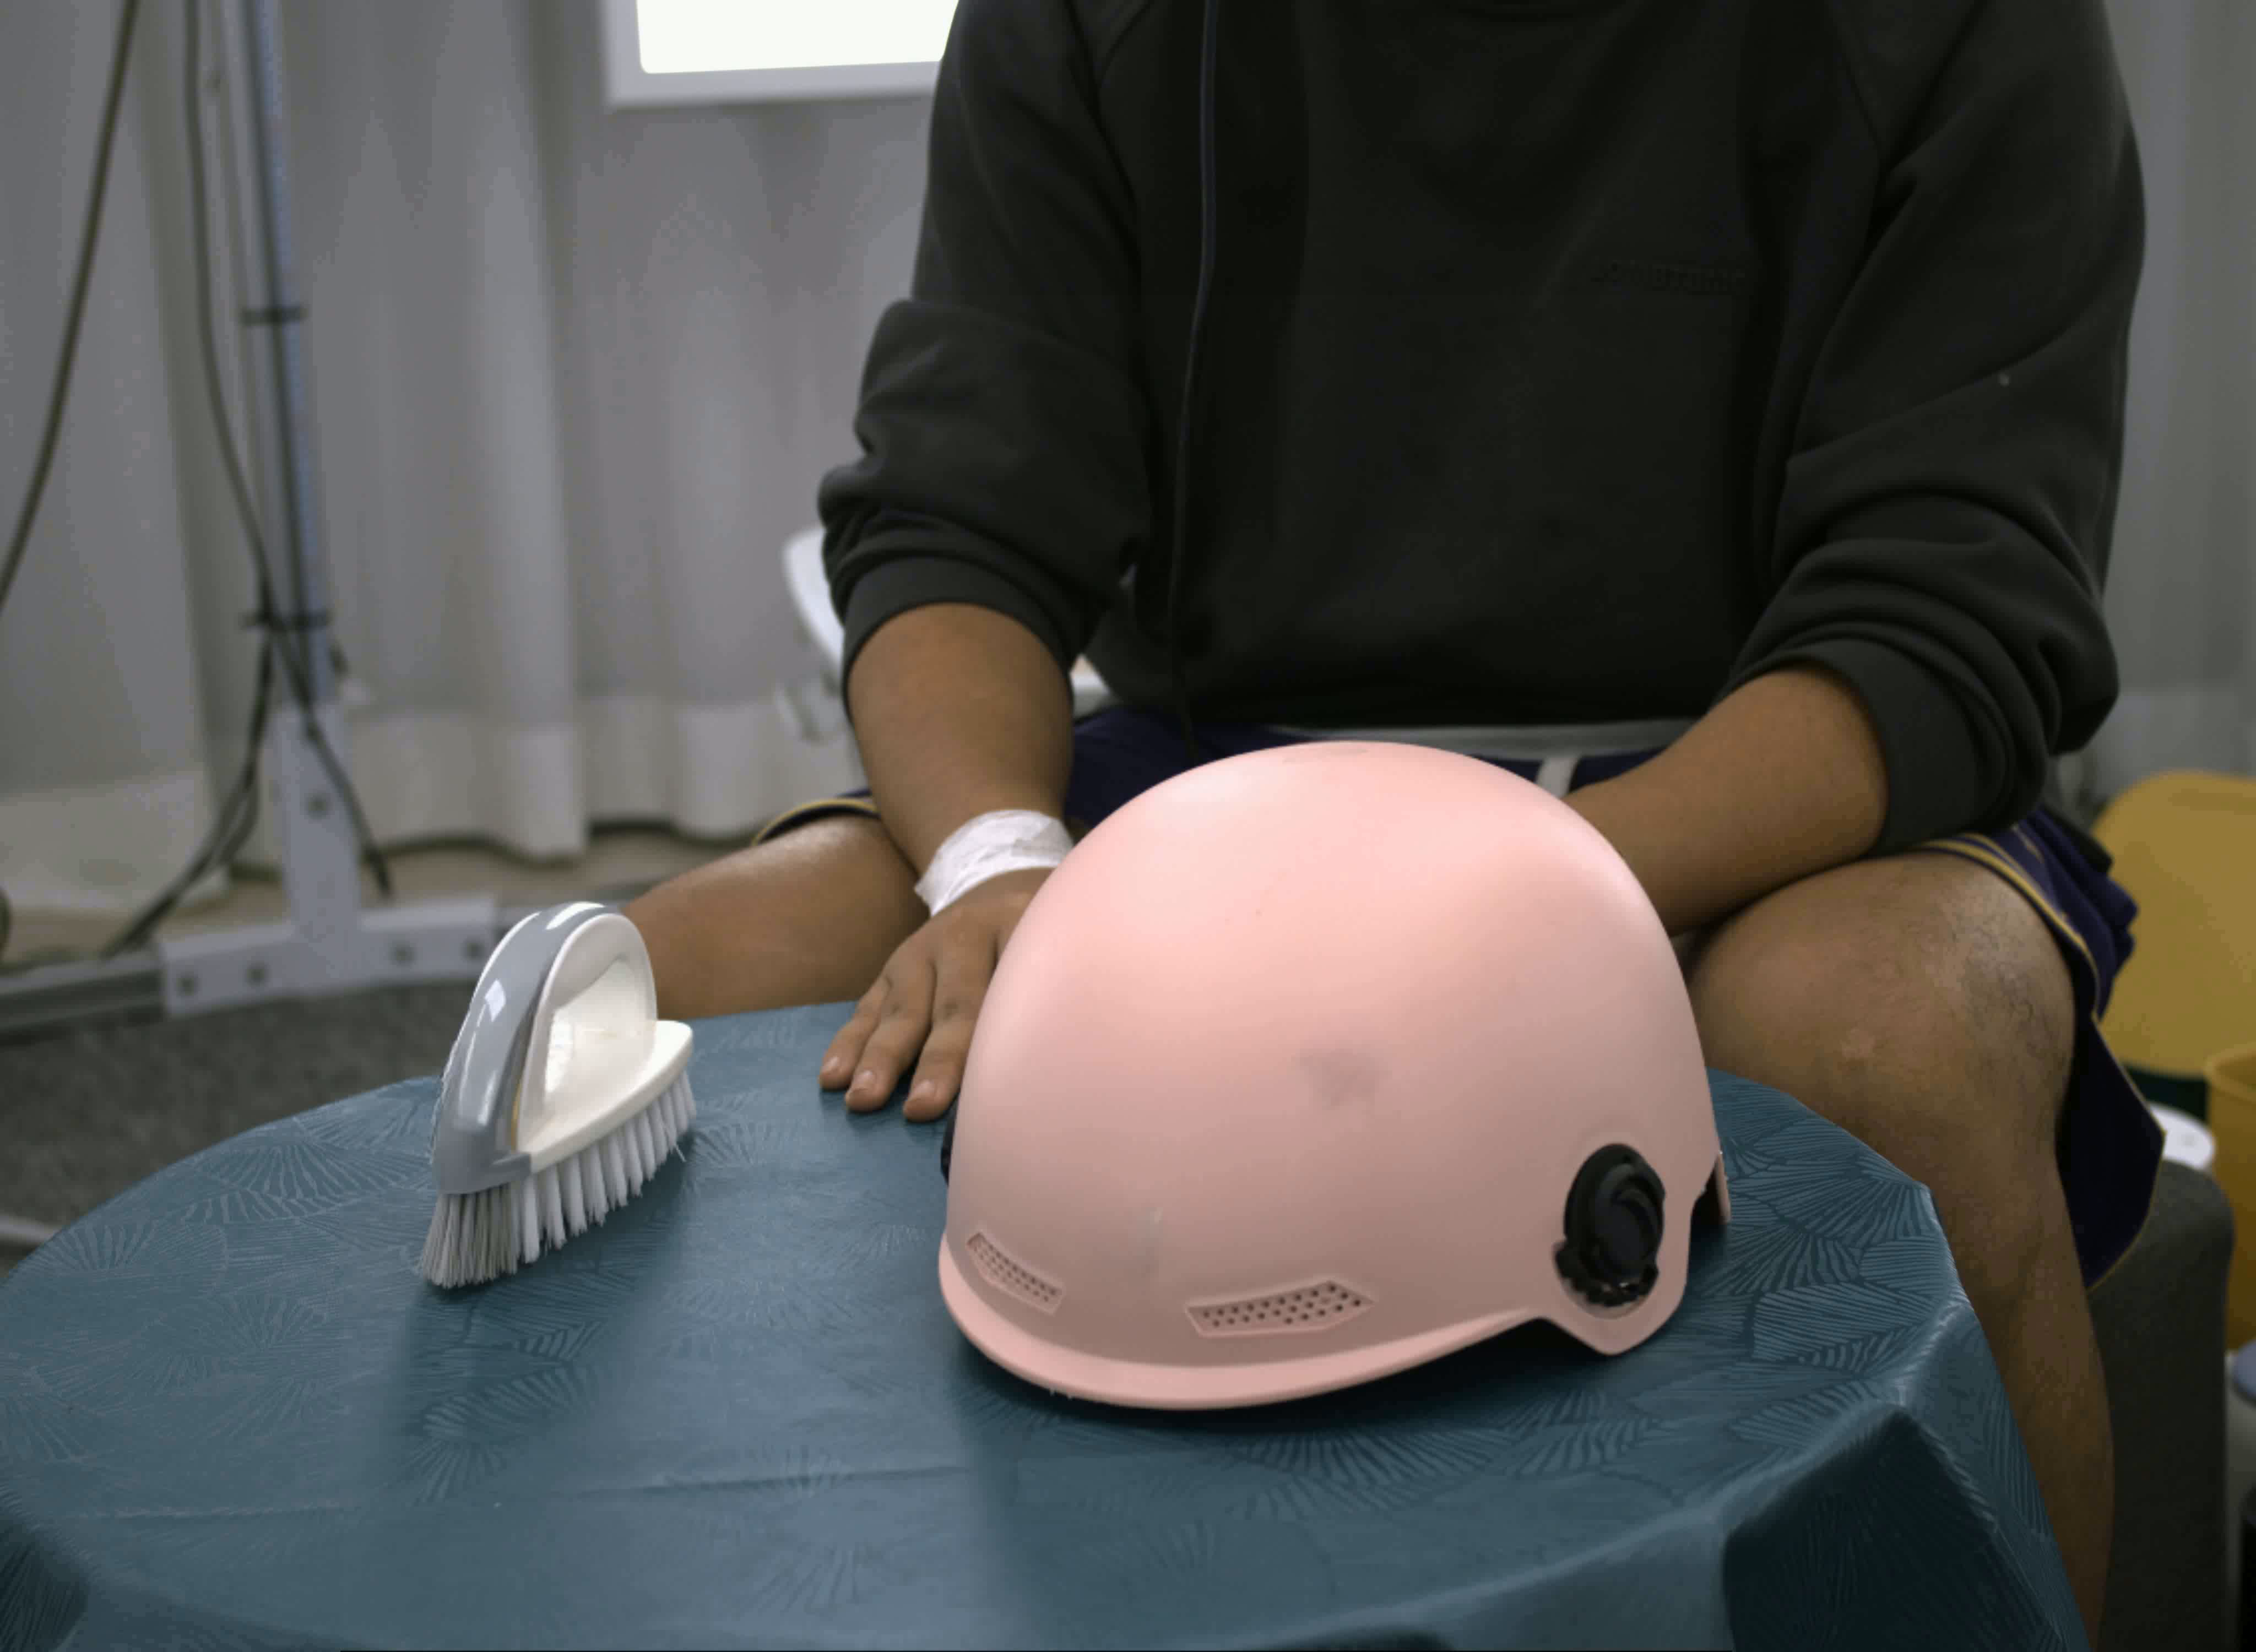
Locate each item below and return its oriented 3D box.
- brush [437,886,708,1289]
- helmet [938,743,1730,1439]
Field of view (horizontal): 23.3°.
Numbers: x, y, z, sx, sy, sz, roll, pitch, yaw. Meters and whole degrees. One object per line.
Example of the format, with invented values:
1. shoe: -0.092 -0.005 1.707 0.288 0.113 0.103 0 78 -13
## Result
1. brush: -0.183 0.076 1.720 0.061 0.094 0.176 0 17 14
2. helmet: 0.056 0.063 1.609 0.234 0.158 0.266 6 21 29
